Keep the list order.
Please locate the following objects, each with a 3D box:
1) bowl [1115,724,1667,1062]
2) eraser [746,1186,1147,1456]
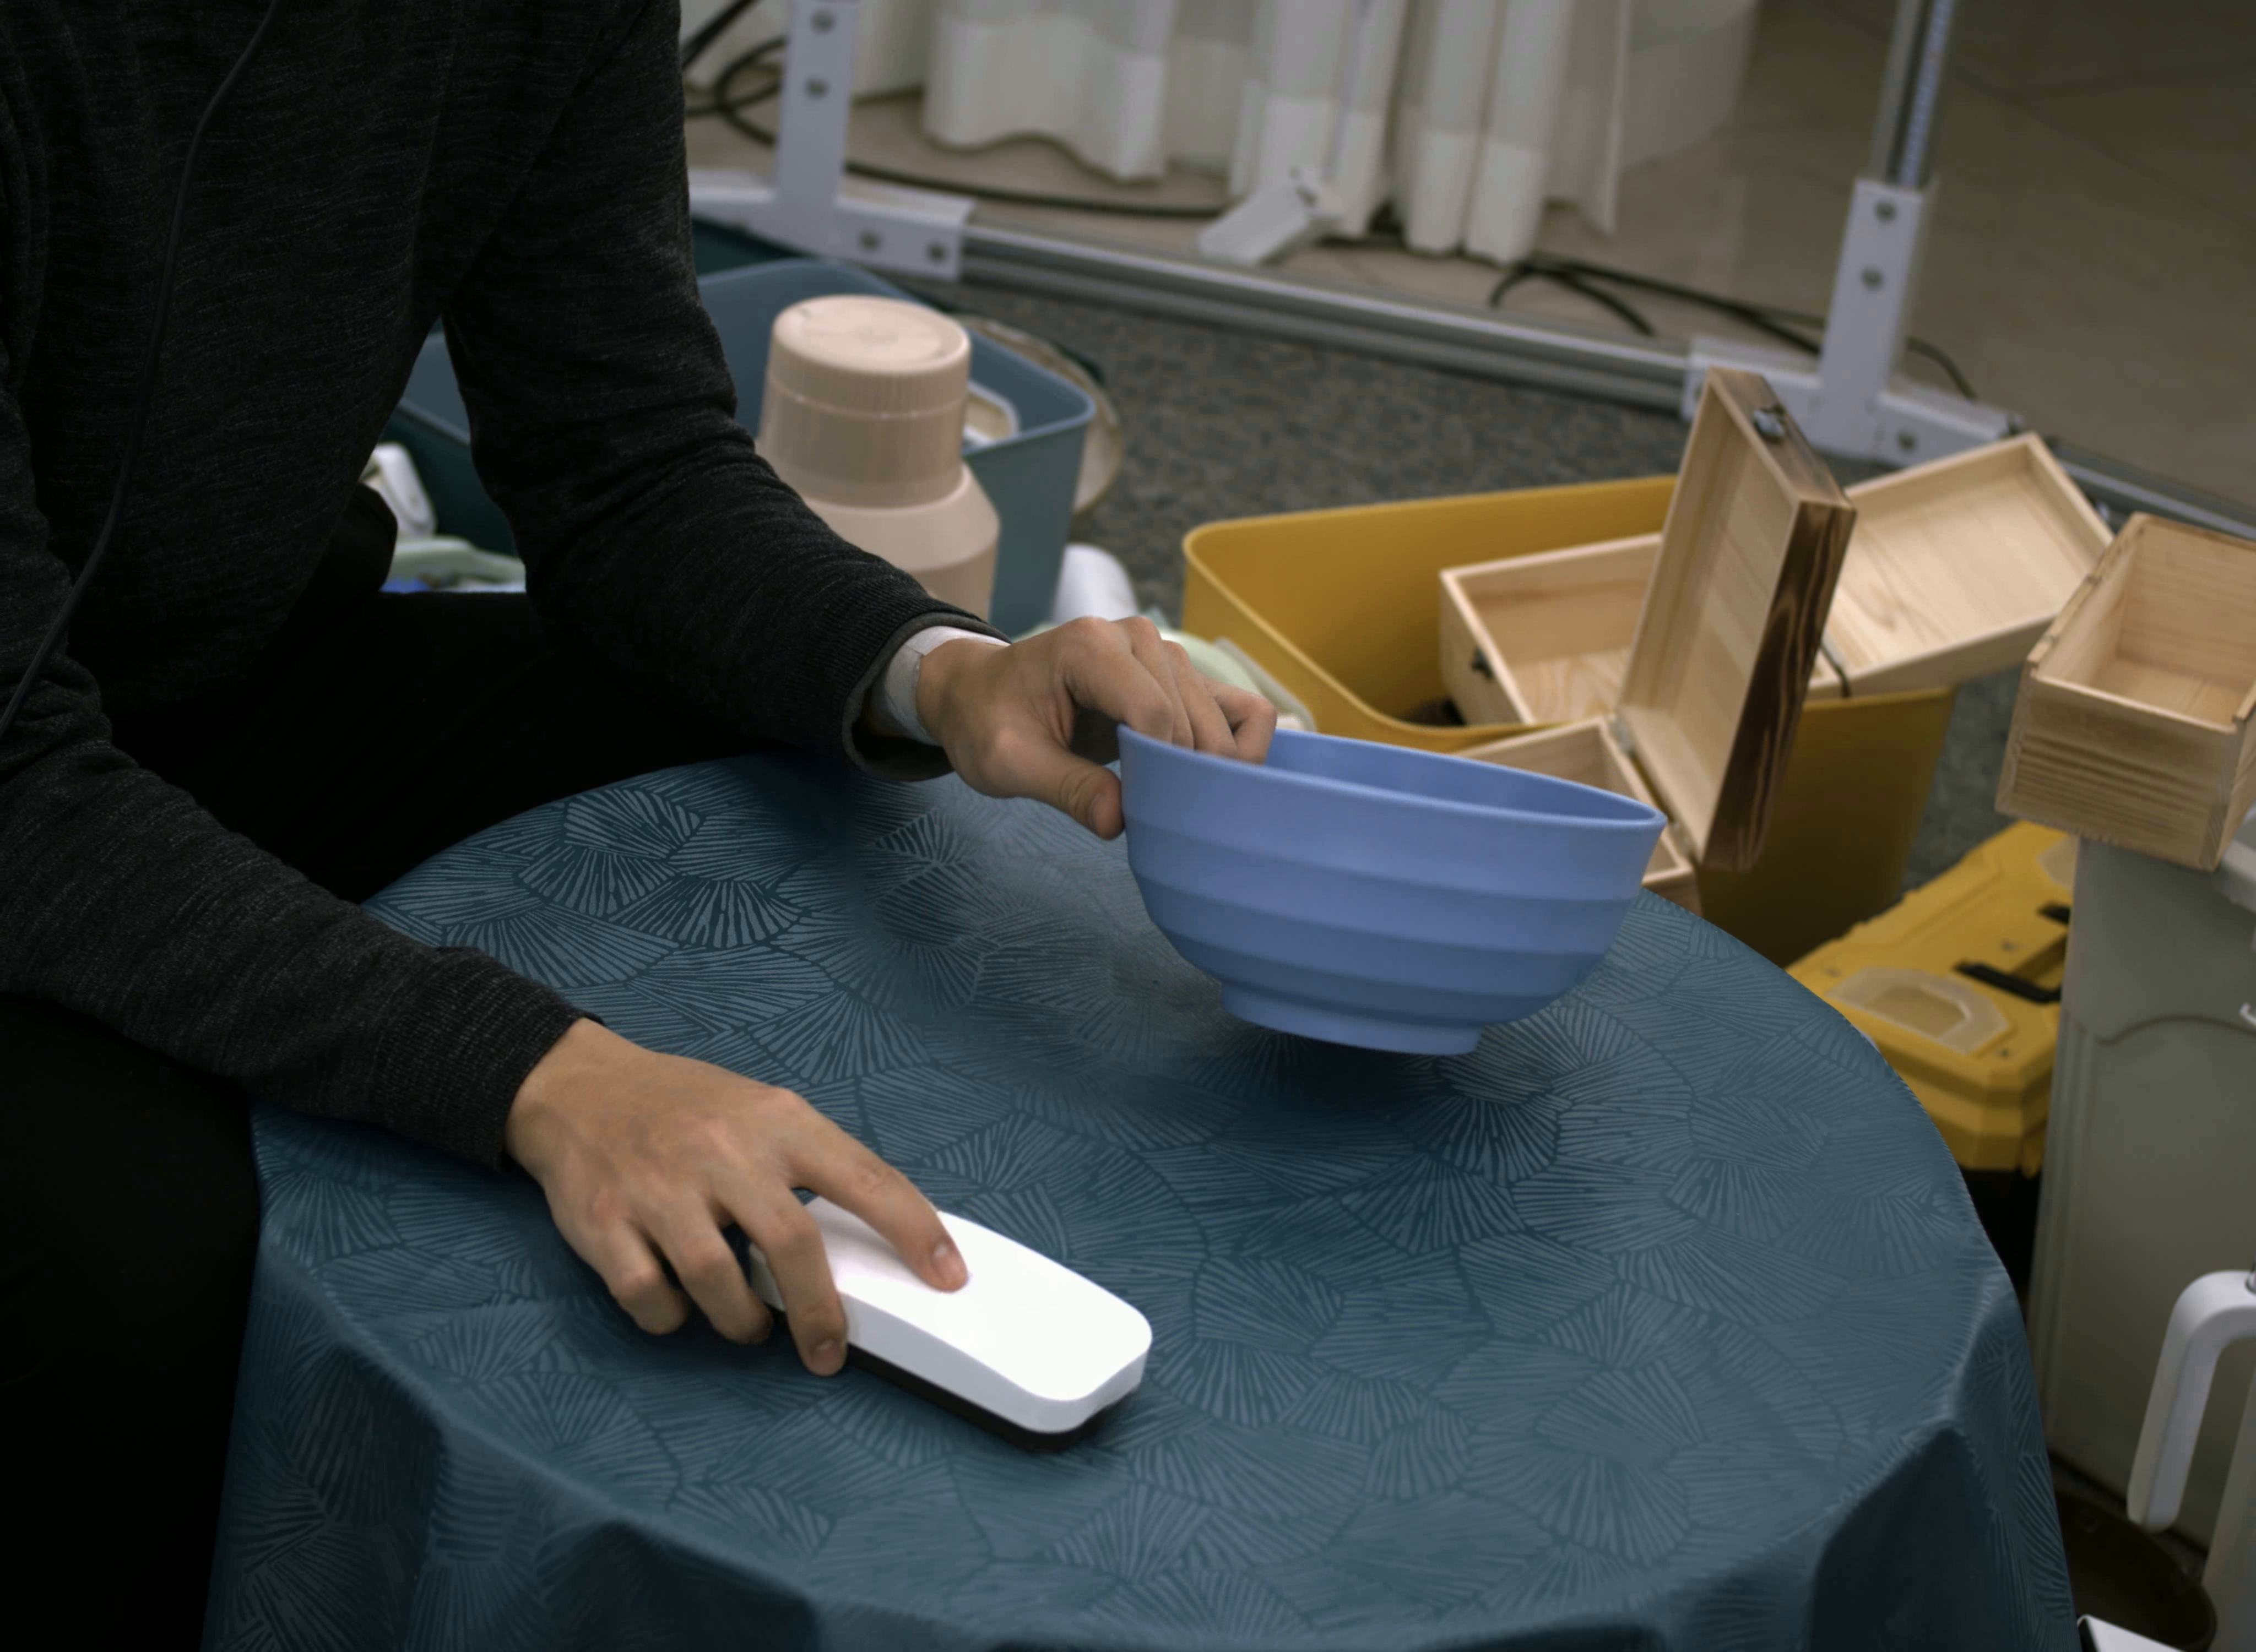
[{"bbox_3d":[0.086,0.027,1.880,0.196,0.095,0.197,8,8,-1],"label":"bowl"},{"bbox_3d":[-0.058,0.154,1.695,0.132,0.034,0.063,25,32,29],"label":"eraser"}]
